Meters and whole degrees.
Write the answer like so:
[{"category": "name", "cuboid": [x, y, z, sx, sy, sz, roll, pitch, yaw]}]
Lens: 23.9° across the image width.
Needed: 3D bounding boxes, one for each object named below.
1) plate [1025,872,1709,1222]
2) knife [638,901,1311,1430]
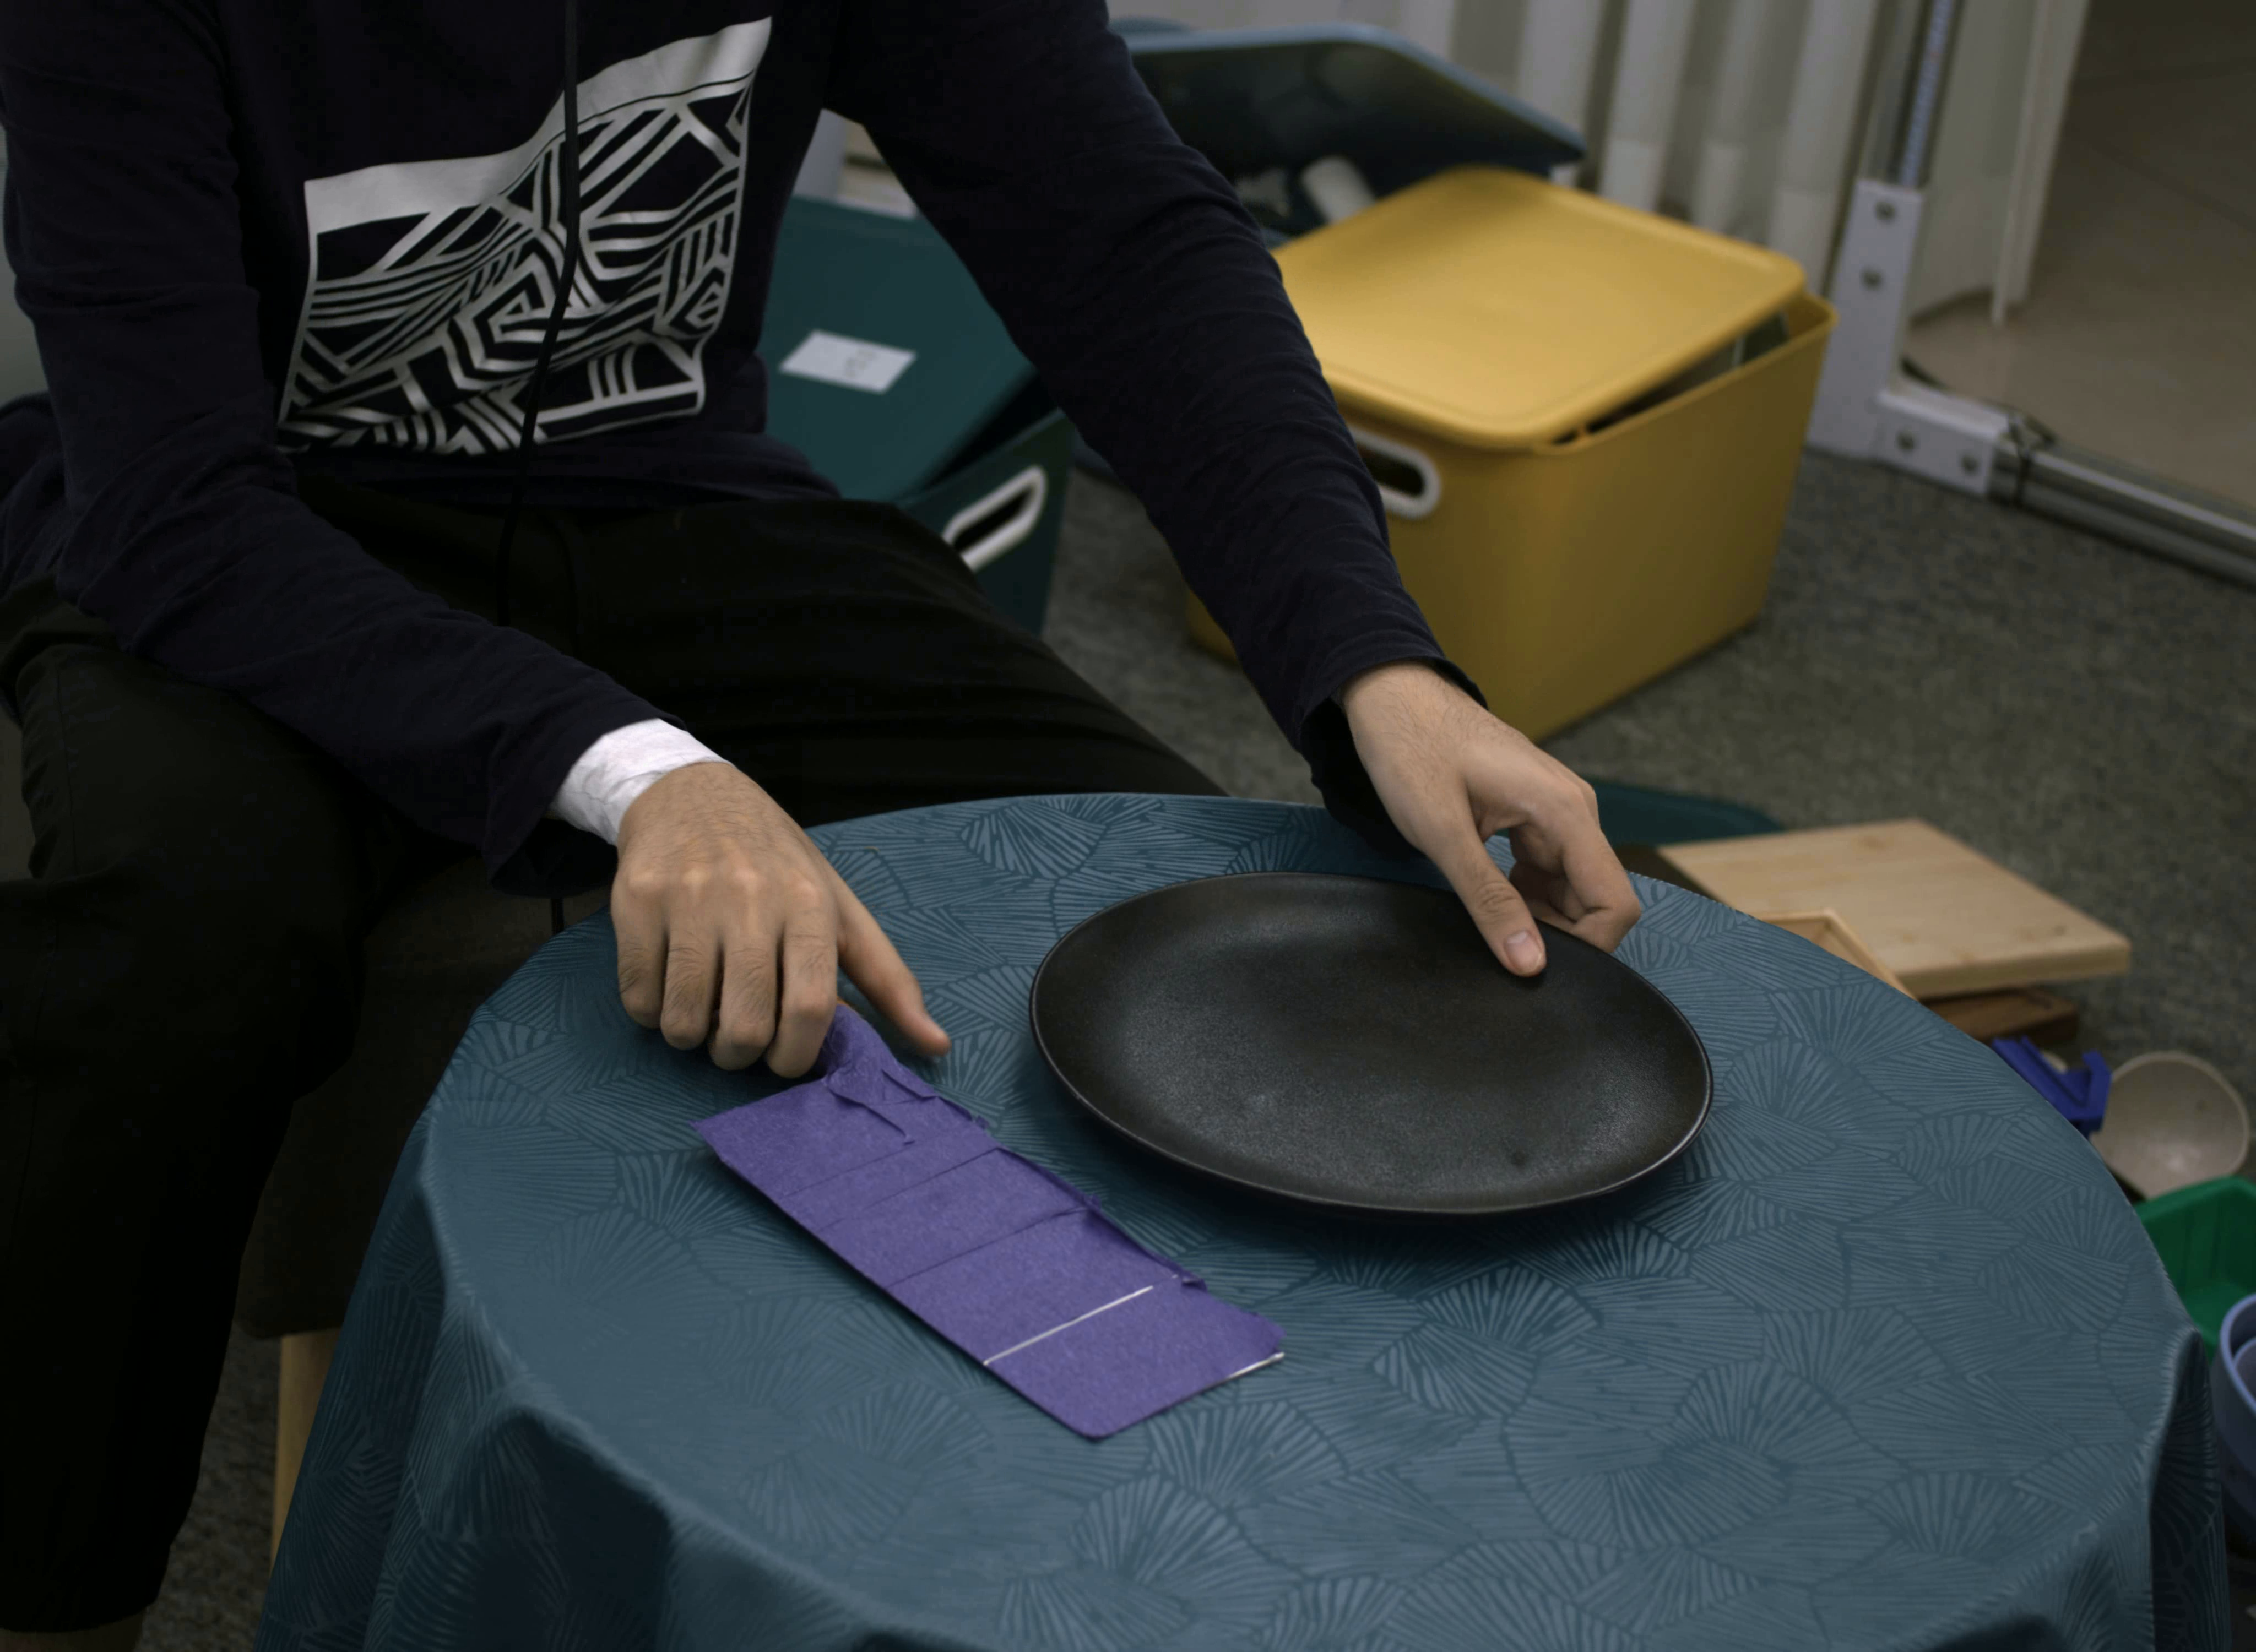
[{"category": "plate", "cuboid": [0.083, 0.082, 1.881, 0.243, 0.023, 0.246, 5, 27, -3]}, {"category": "knife", "cuboid": [-0.080, 0.110, 1.785, 0.103, 0.032, 0.318, -18, 36, -40]}]
